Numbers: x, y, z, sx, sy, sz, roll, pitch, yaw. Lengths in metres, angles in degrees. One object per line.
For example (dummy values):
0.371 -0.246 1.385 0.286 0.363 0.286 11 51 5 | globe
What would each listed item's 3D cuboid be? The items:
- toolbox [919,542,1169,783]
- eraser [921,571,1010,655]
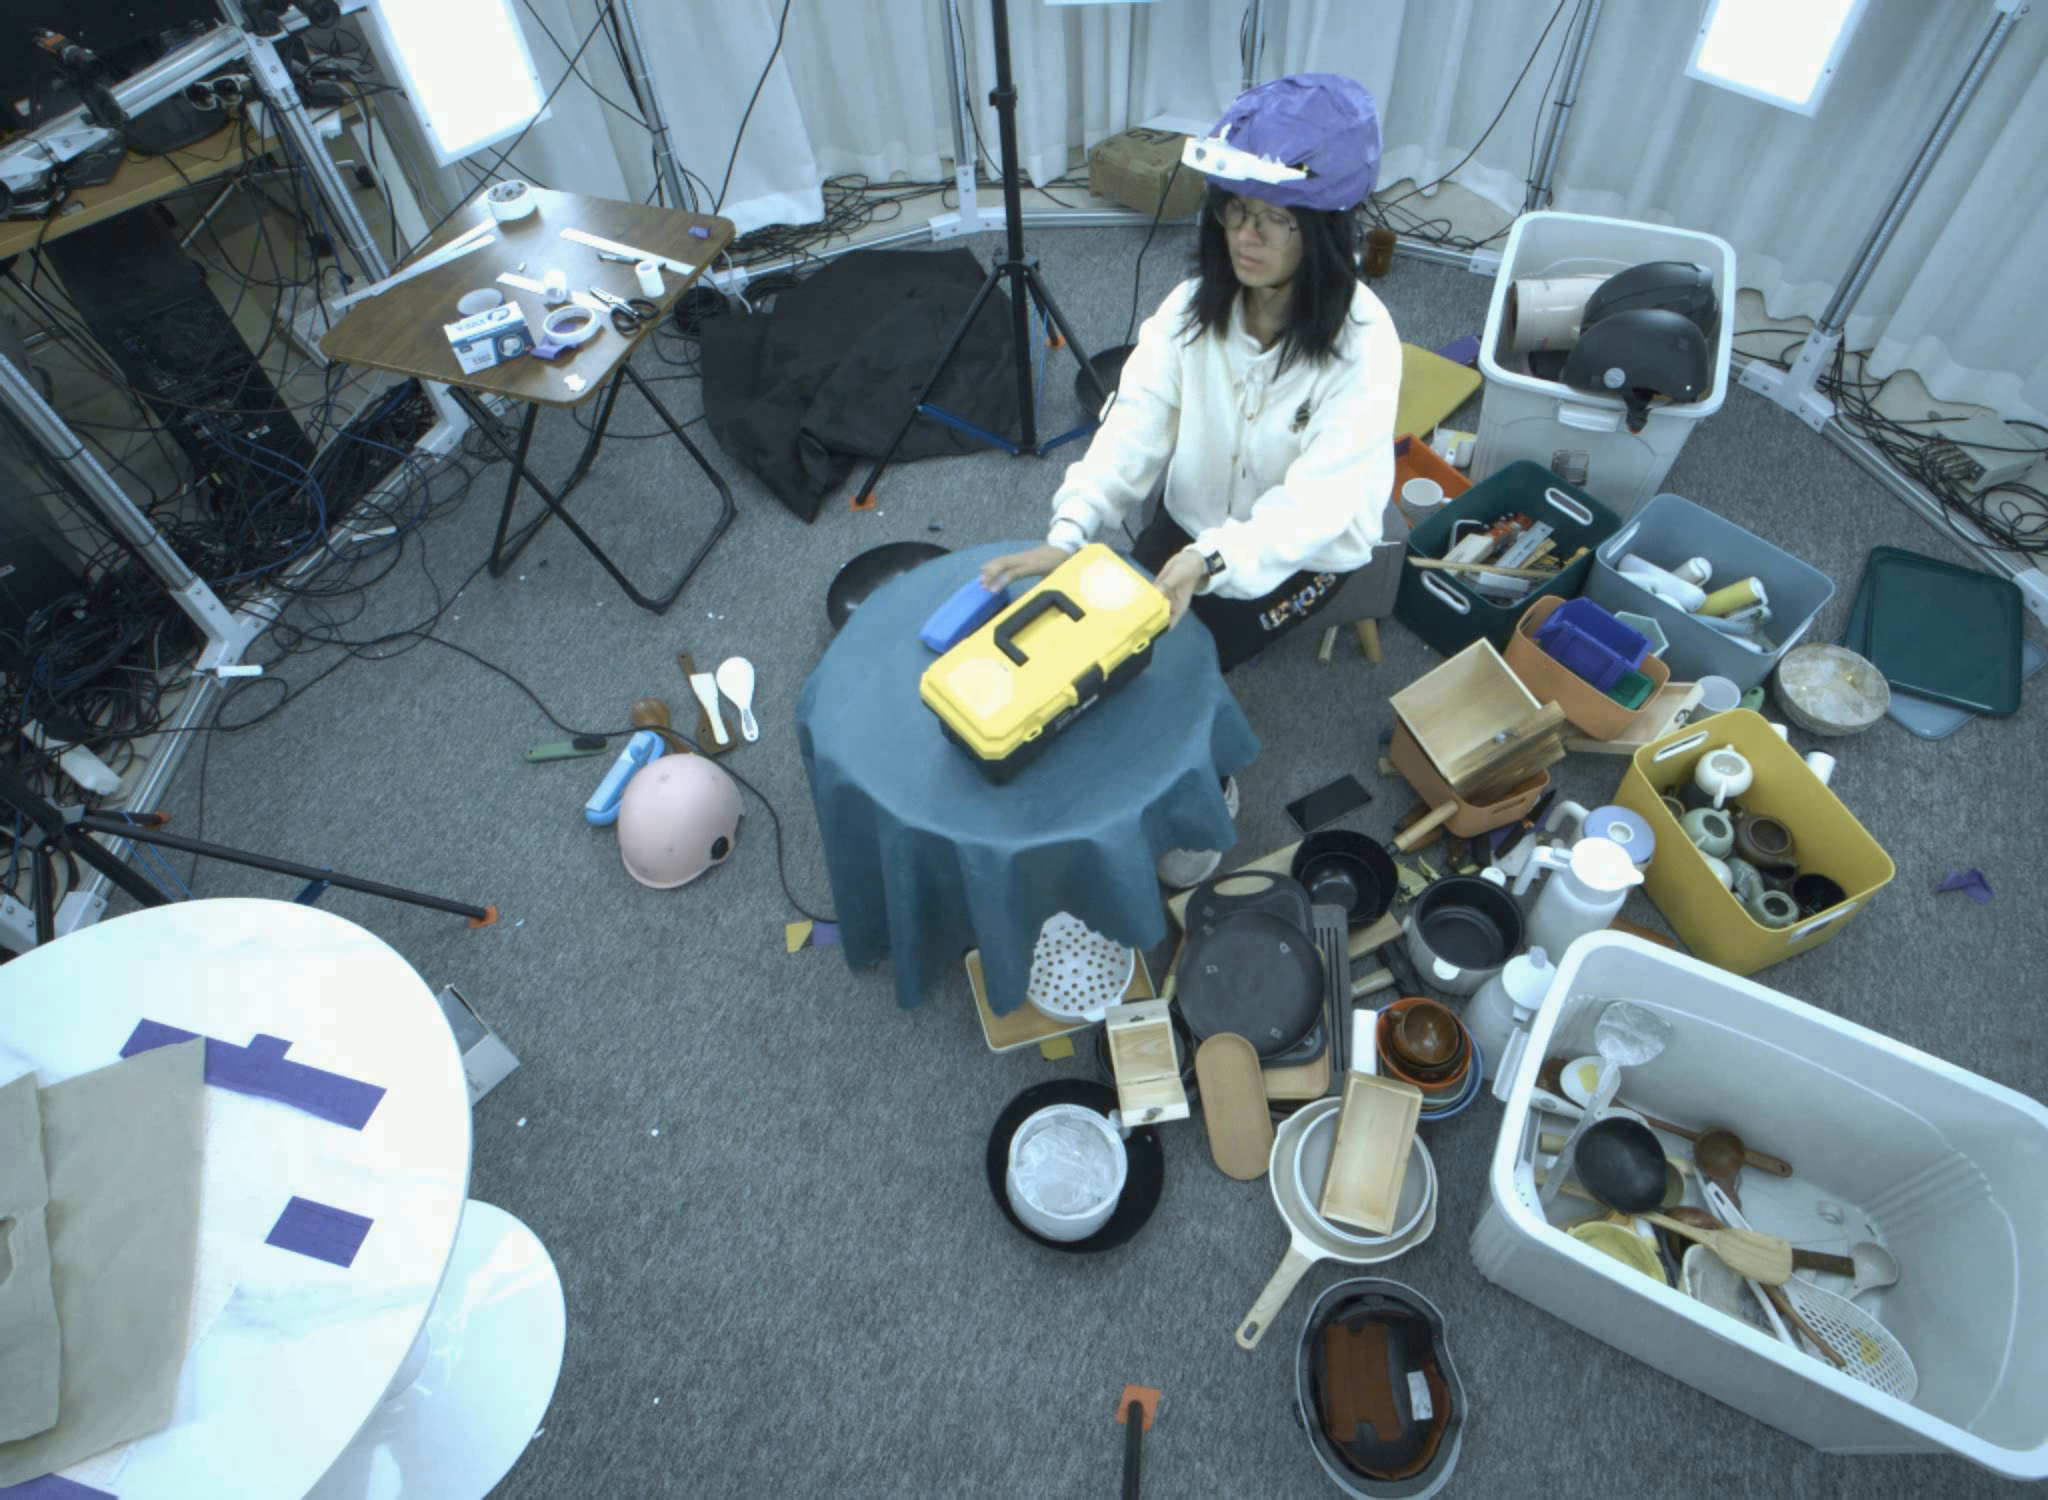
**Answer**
0.034 -0.119 1.741 0.353 0.174 0.179 -39 69 -17 | toolbox
-0.092 -0.219 1.916 0.053 0.048 0.163 34 64 23 | eraser
